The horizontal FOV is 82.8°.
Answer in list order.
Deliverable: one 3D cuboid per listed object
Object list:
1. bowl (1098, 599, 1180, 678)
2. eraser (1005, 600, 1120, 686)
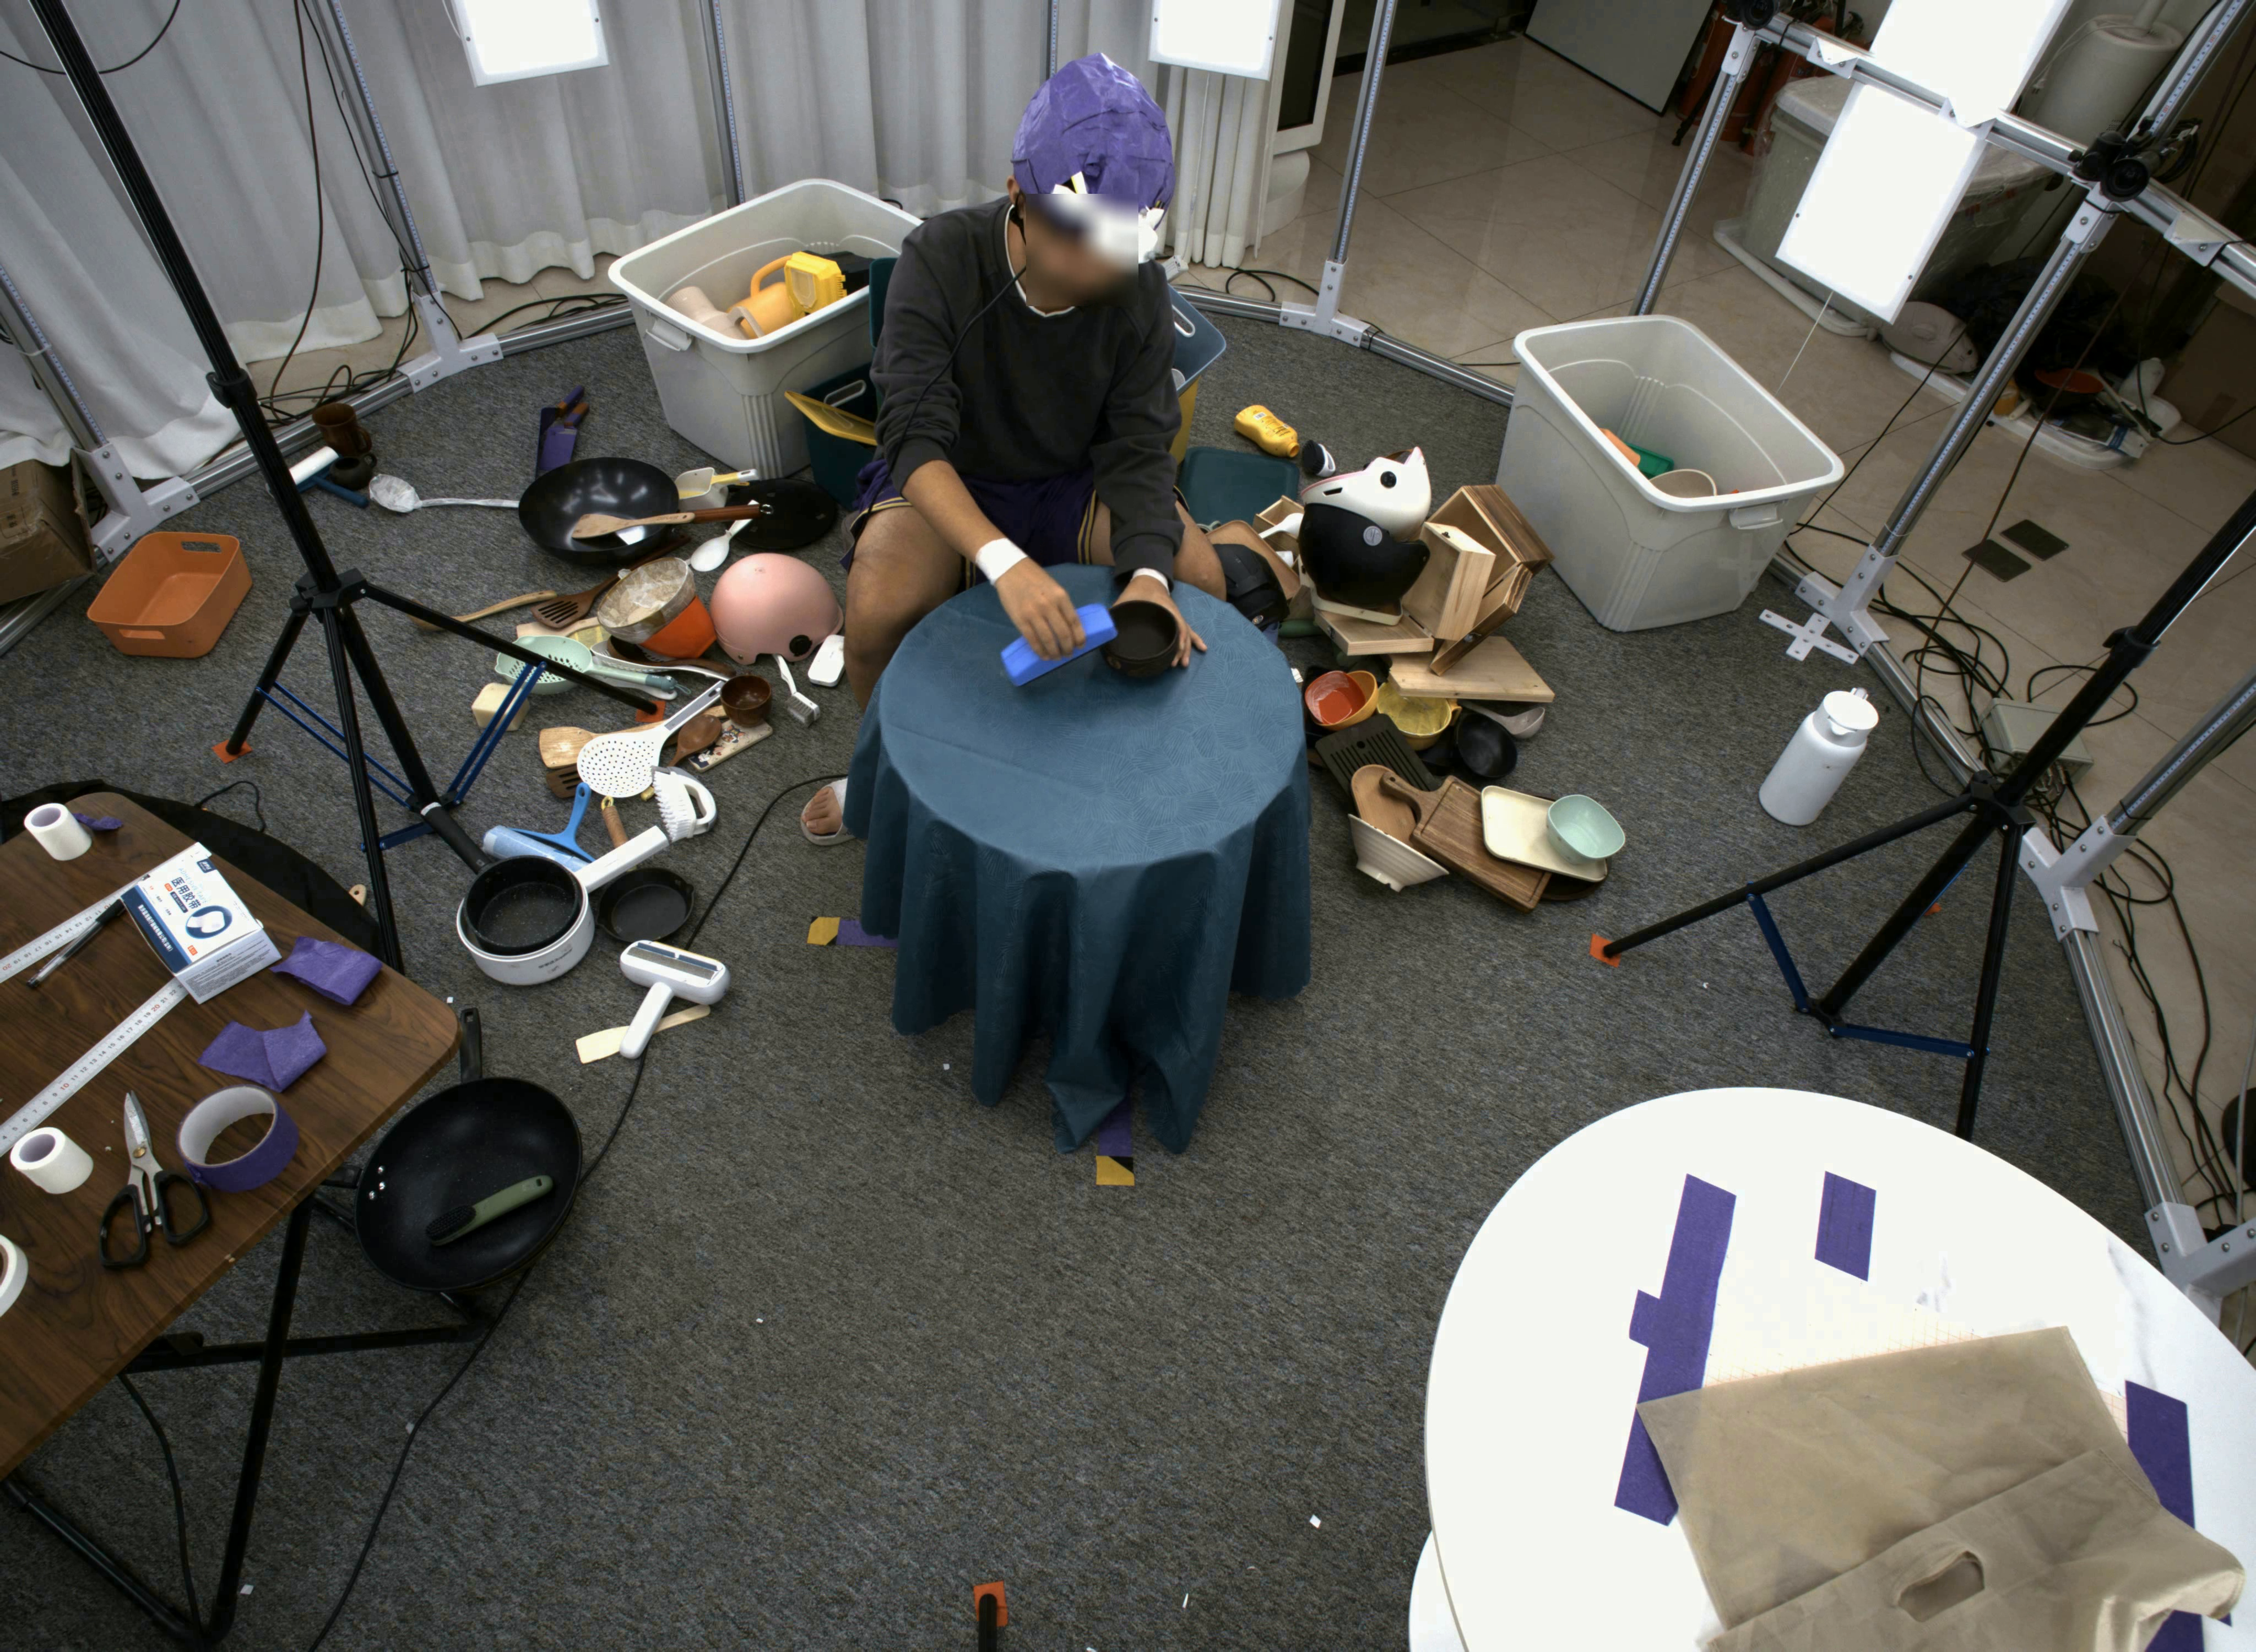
[{"bbox_3d":[0.016,-0.261,1.843,0.118,0.068,0.121,-2,53,2],"label":"bowl"},{"bbox_3d":[-0.092,-0.257,1.780,0.162,0.046,0.055,-29,62,-1],"label":"eraser"}]
